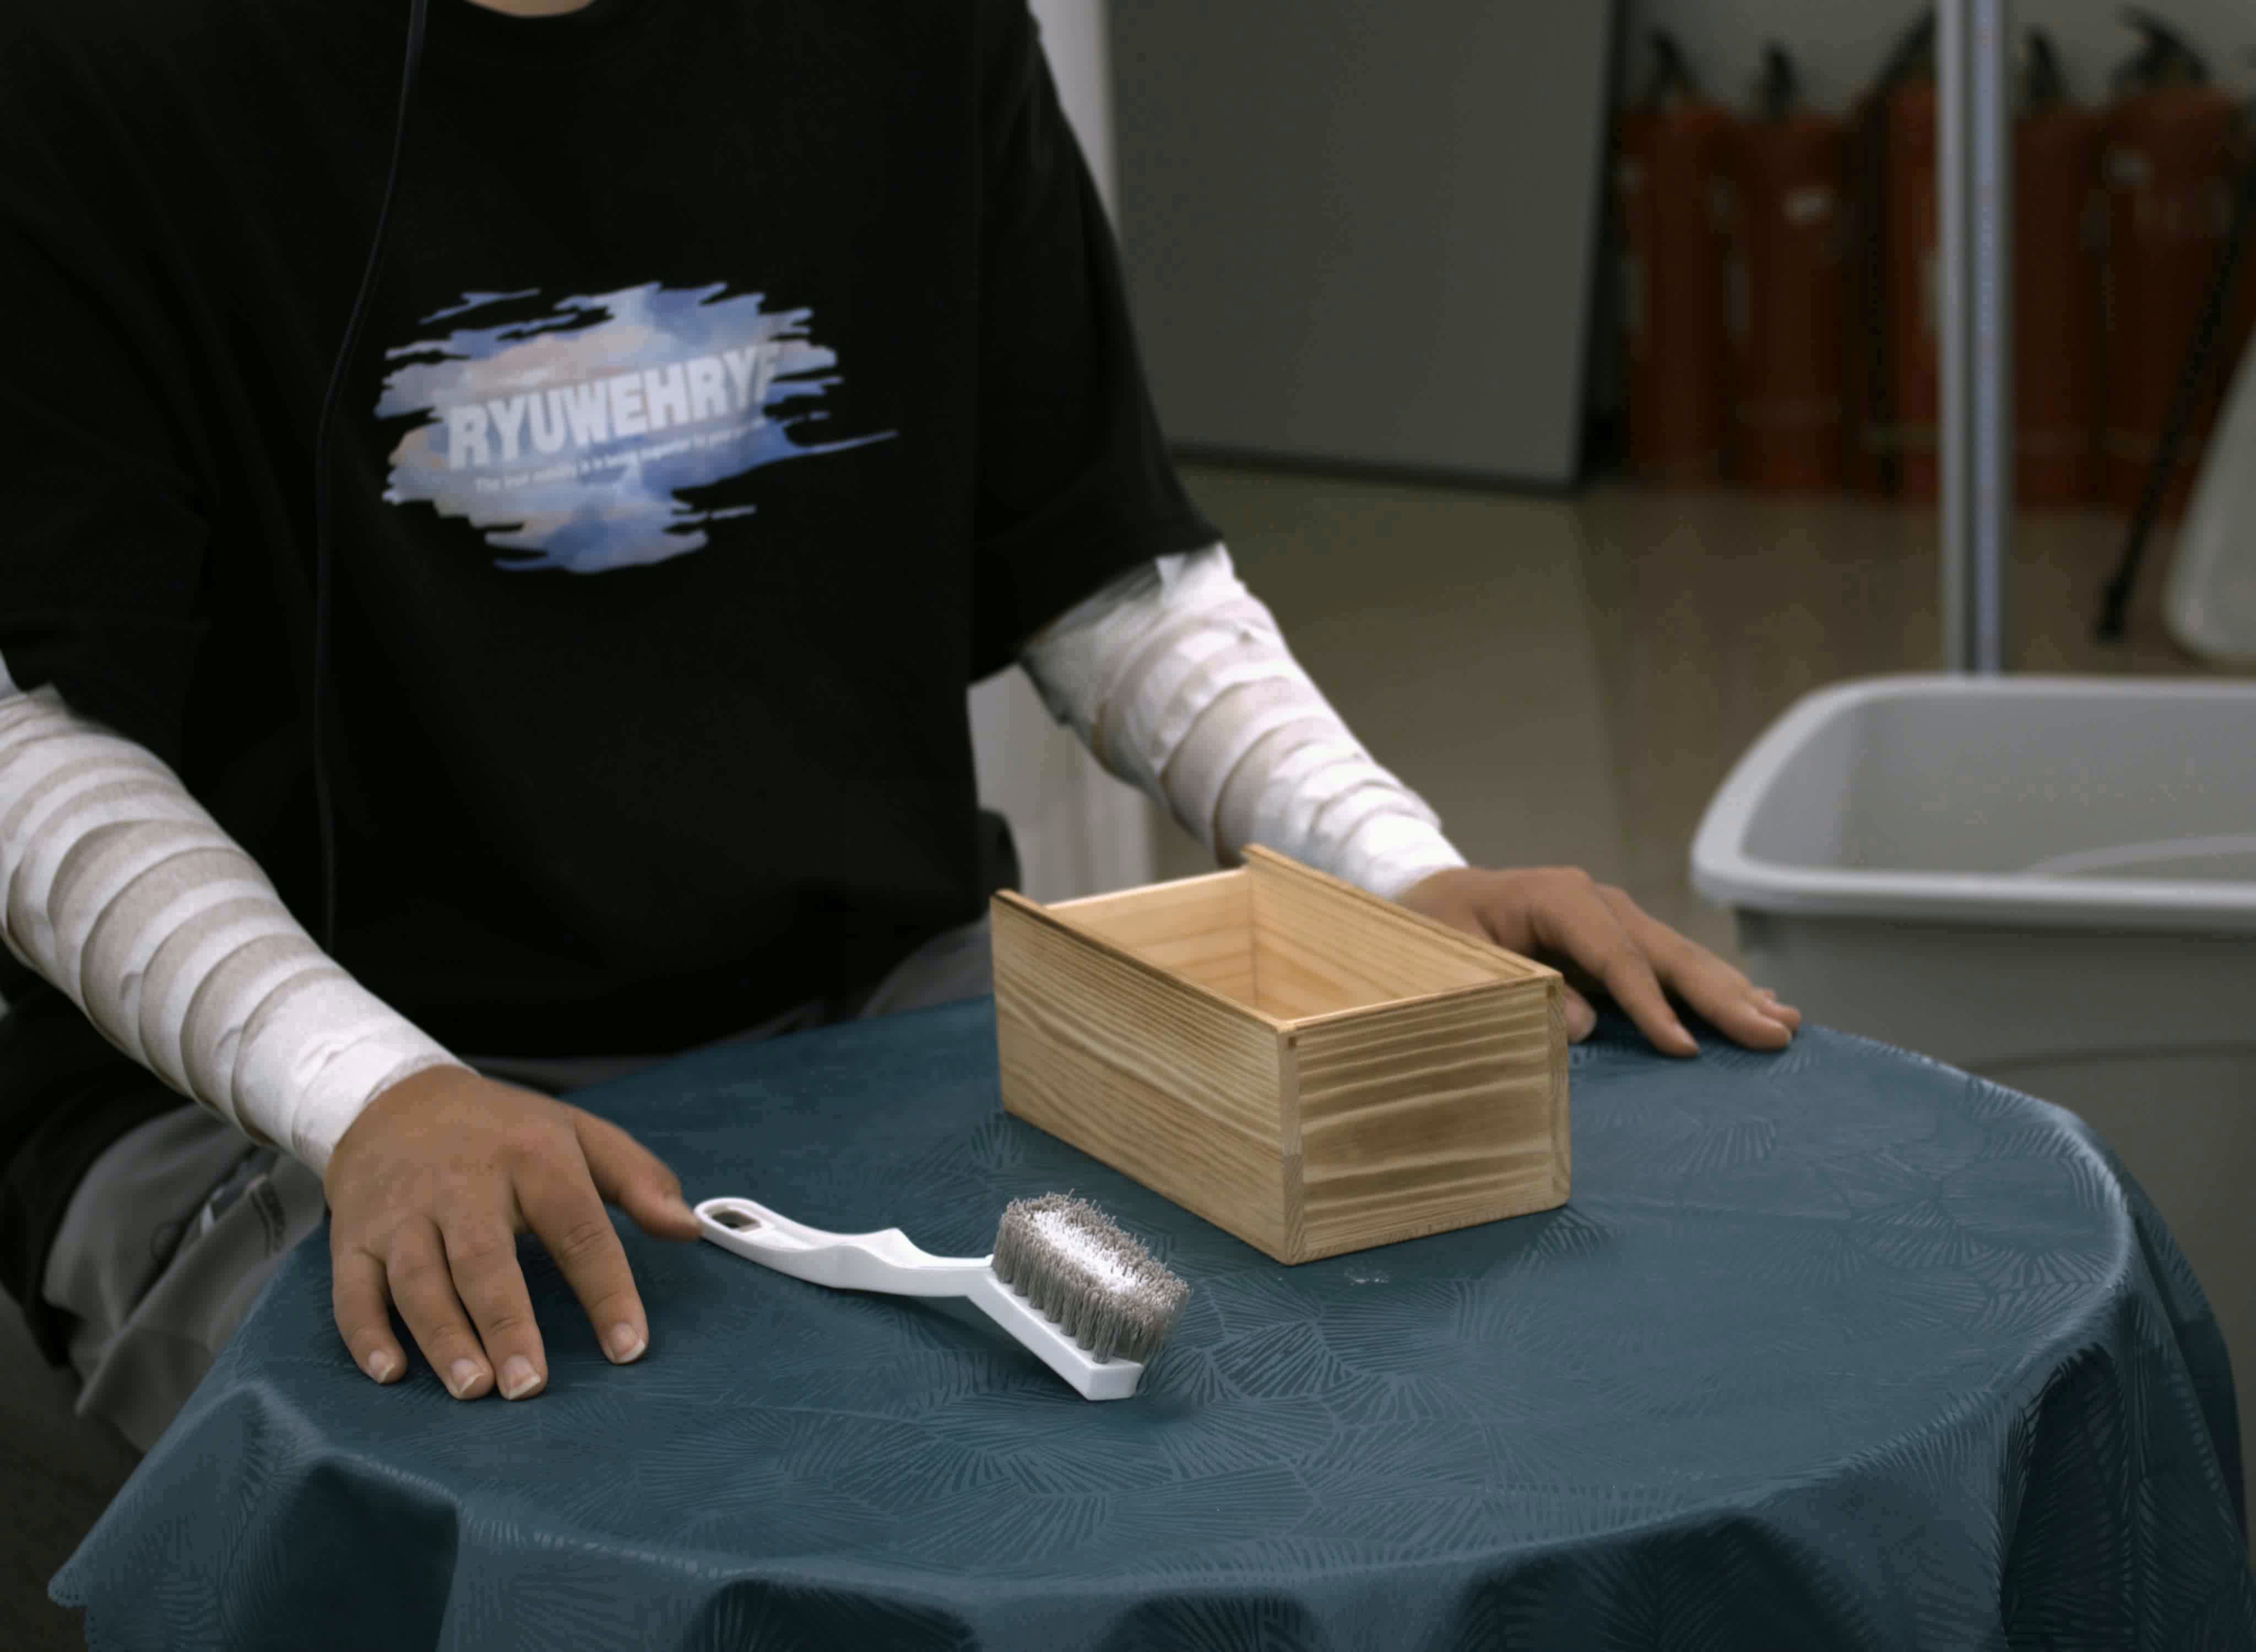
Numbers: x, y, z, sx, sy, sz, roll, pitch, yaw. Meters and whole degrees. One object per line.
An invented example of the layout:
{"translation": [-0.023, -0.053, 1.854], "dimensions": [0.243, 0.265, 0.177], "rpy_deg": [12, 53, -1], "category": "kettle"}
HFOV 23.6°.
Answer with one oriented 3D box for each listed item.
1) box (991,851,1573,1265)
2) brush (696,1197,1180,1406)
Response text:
{"translation": [0.048, 0.074, 1.788], "dimensions": [0.105, 0.081, 0.213], "rpy_deg": [-11, 14, -25], "category": "box"}
{"translation": [-0.065, 0.126, 1.665], "dimensions": [0.033, 0.051, 0.246], "rpy_deg": [-12, 16, -33], "category": "brush"}
